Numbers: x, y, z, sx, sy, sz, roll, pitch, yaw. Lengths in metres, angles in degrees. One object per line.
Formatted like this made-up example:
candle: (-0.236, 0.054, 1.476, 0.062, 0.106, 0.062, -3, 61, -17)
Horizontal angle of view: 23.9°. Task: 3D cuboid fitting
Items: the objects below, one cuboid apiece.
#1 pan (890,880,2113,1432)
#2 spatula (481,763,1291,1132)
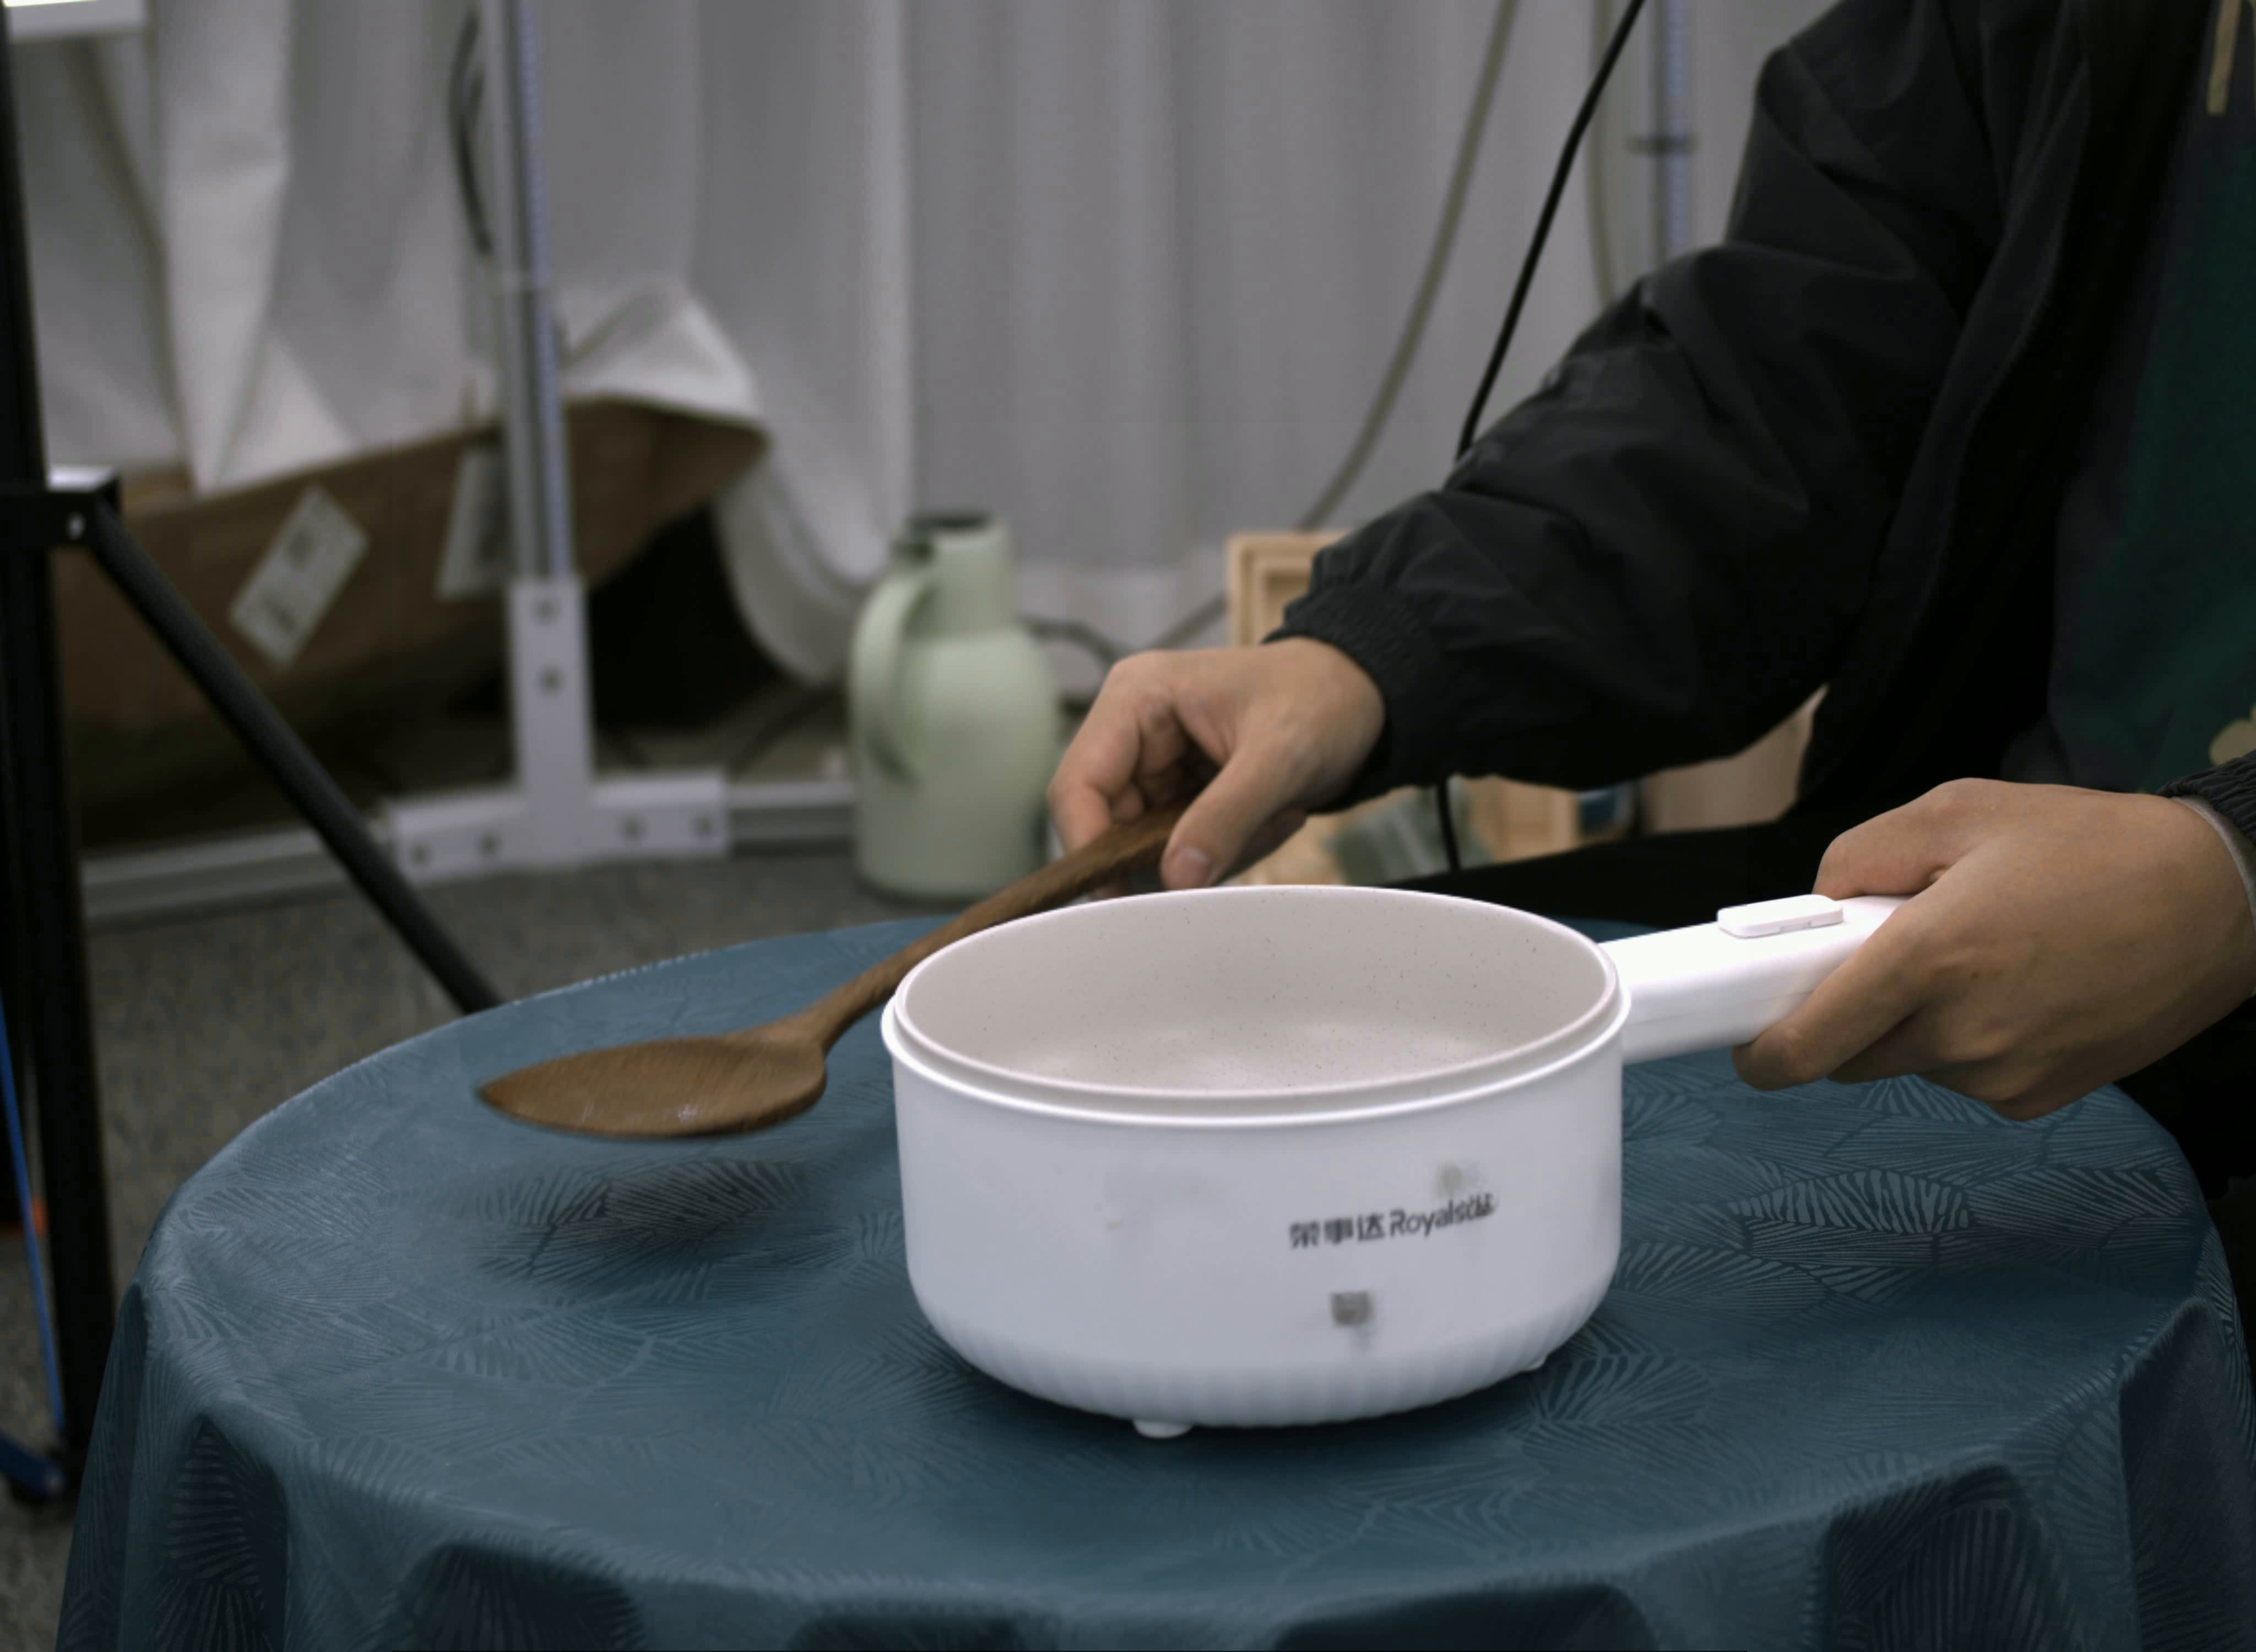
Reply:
pan: (0.108, 0.083, 1.453, 0.348, 0.102, 0.205, -6, 14, -20)
spatula: (-0.055, 0.033, 1.670, 0.098, 0.016, 0.379, 6, 20, 34)
